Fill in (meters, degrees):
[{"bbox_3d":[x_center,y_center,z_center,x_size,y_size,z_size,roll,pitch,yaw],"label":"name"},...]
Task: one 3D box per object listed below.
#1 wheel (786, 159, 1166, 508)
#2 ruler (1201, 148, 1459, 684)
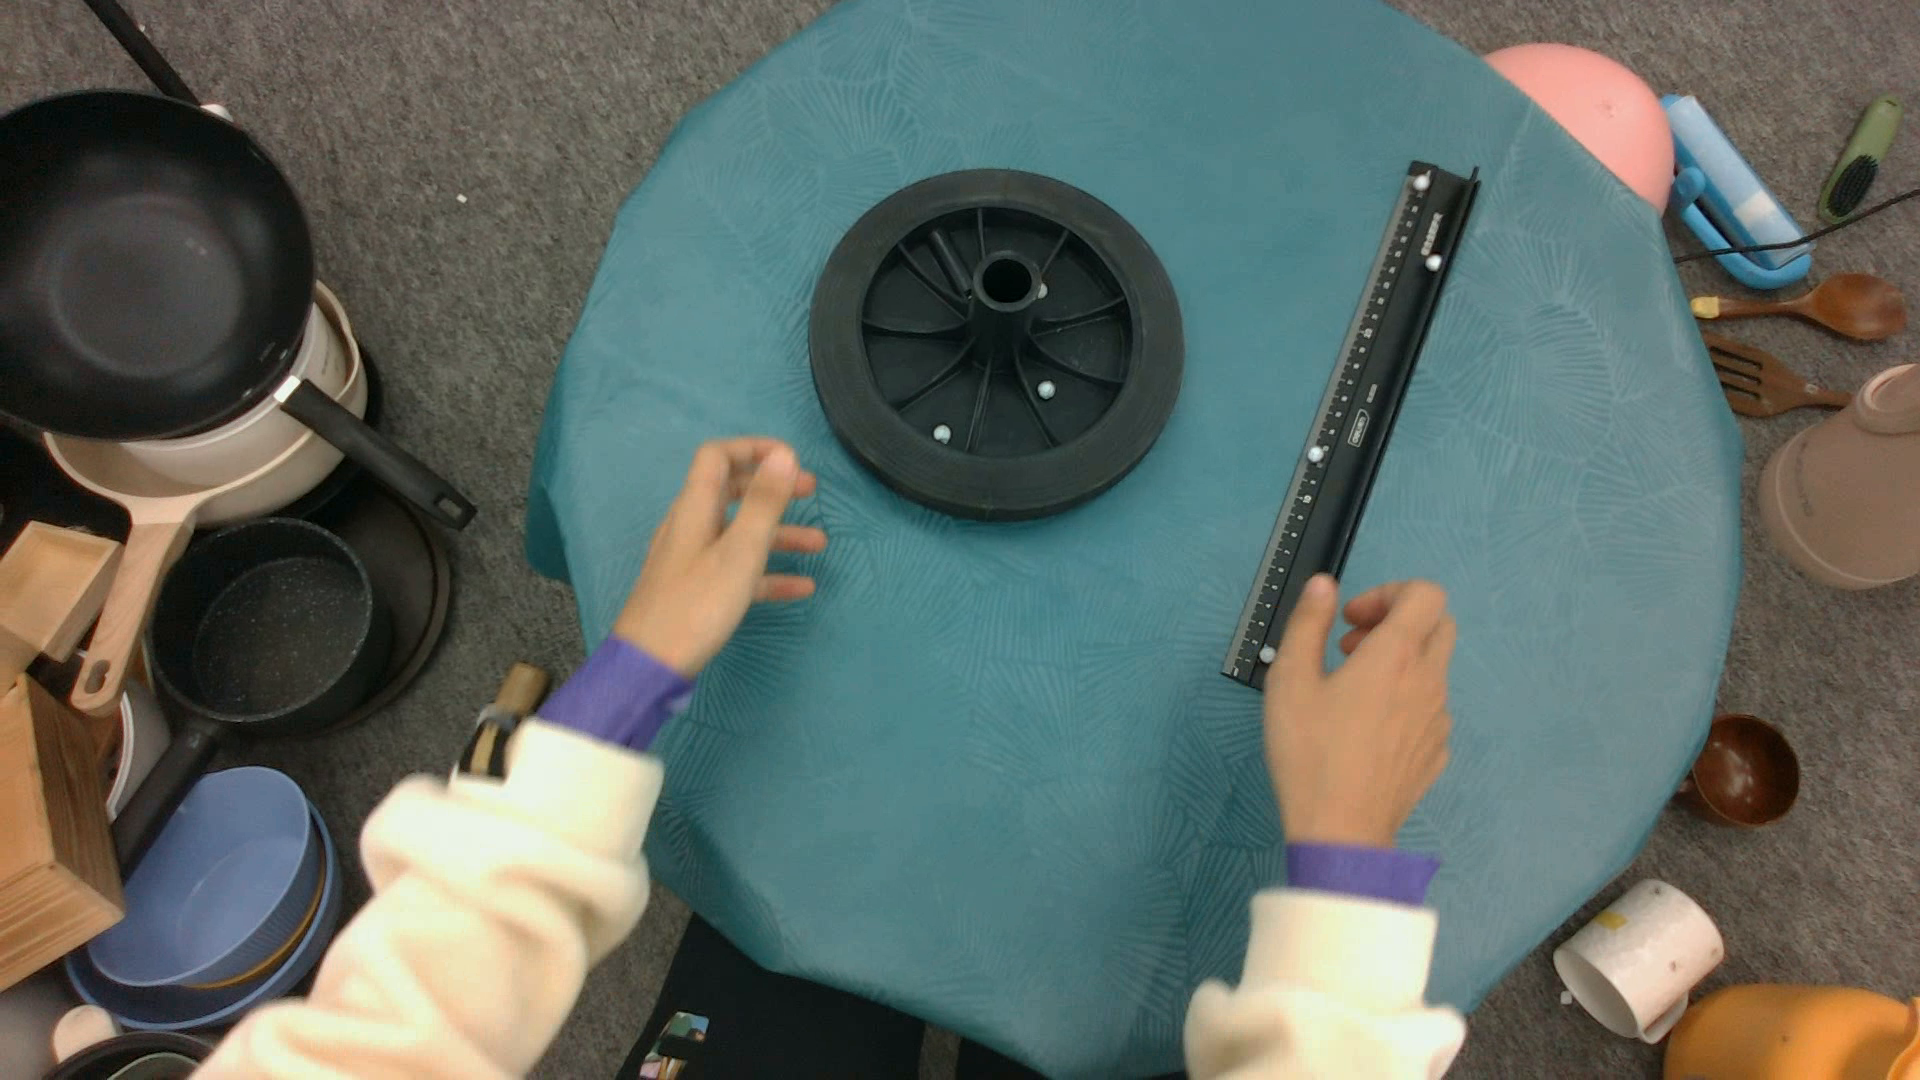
[{"bbox_3d":[0.010,-0.113,0.668,0.190,0.079,0.188,39,74,8],"label":"wheel"},{"bbox_3d":[0.194,-0.075,0.702,0.039,0.017,0.313,22,73,7],"label":"ruler"}]
